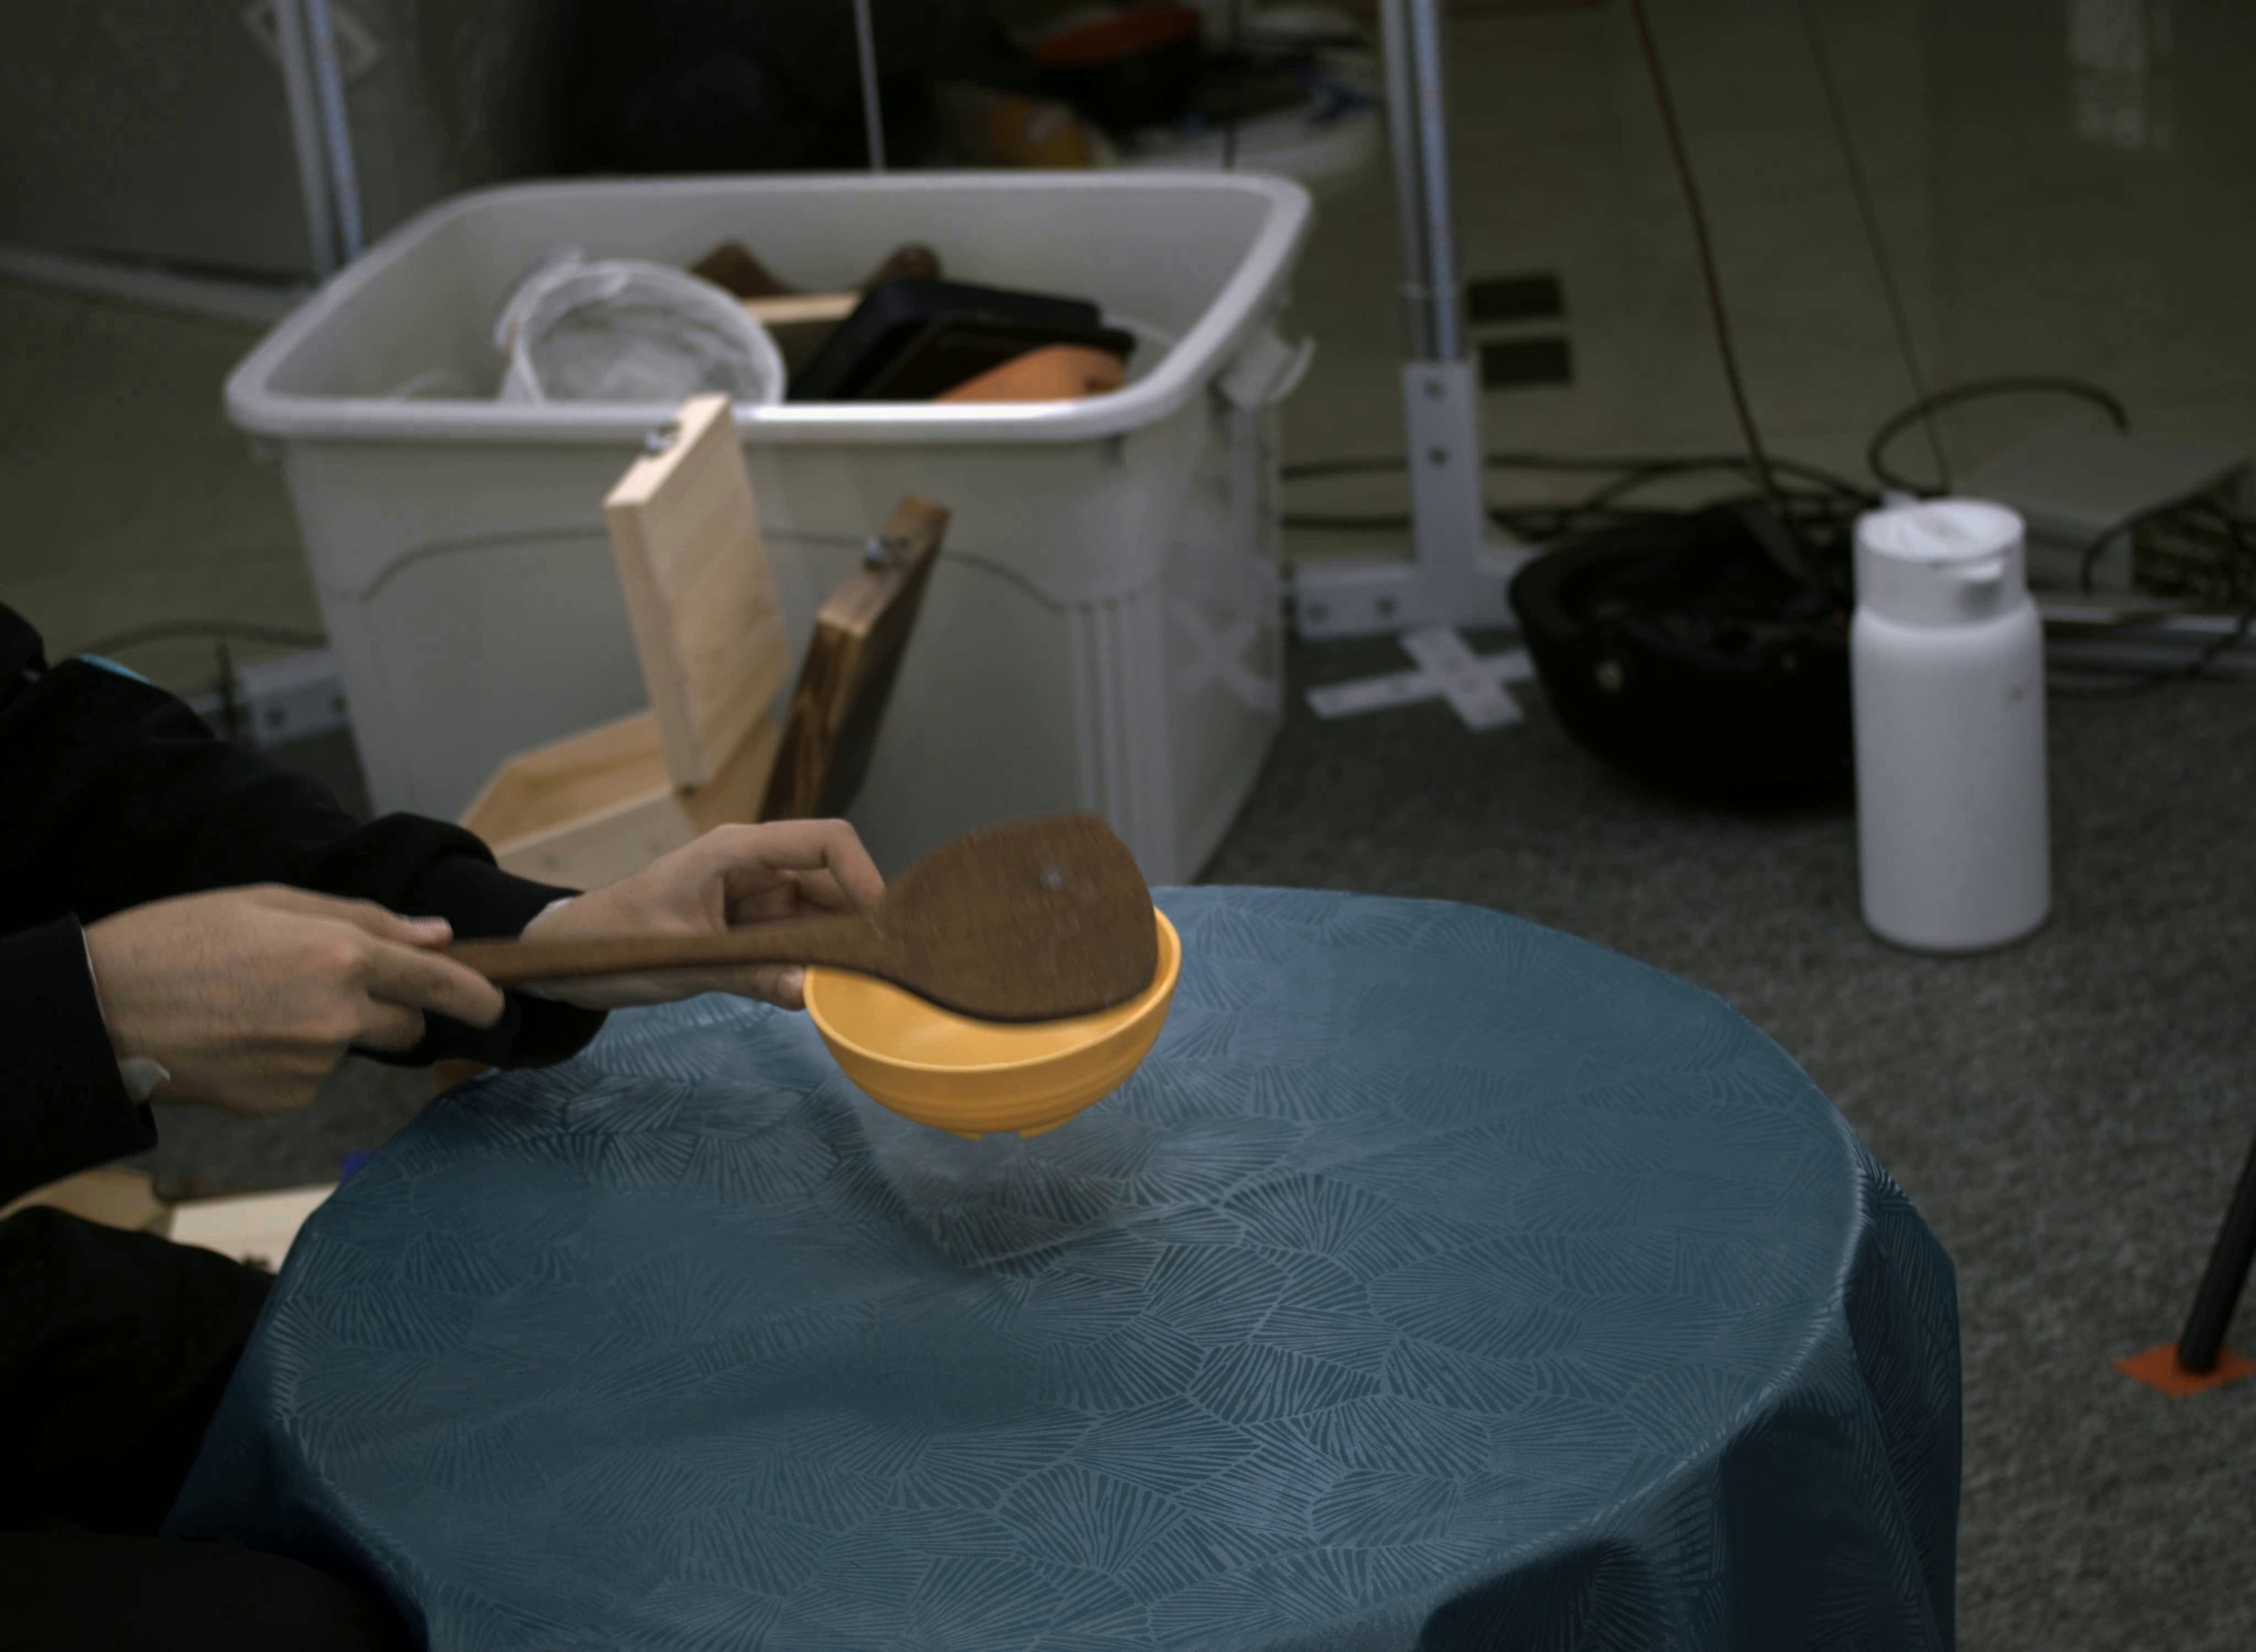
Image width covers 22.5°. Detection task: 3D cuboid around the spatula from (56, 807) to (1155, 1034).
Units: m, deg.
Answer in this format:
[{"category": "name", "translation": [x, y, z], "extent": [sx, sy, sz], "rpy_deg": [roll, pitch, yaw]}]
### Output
[{"category": "spatula", "translation": [-0.181, 0.044, 1.986], "extent": [0.385, 0.016, 0.094], "rpy_deg": [-5, 50, -12]}]

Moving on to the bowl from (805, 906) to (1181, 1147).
[{"category": "bowl", "translation": [-0.049, 0.081, 2.160], "extent": [0.145, 0.061, 0.143], "rpy_deg": [-4, 27, 2]}]
